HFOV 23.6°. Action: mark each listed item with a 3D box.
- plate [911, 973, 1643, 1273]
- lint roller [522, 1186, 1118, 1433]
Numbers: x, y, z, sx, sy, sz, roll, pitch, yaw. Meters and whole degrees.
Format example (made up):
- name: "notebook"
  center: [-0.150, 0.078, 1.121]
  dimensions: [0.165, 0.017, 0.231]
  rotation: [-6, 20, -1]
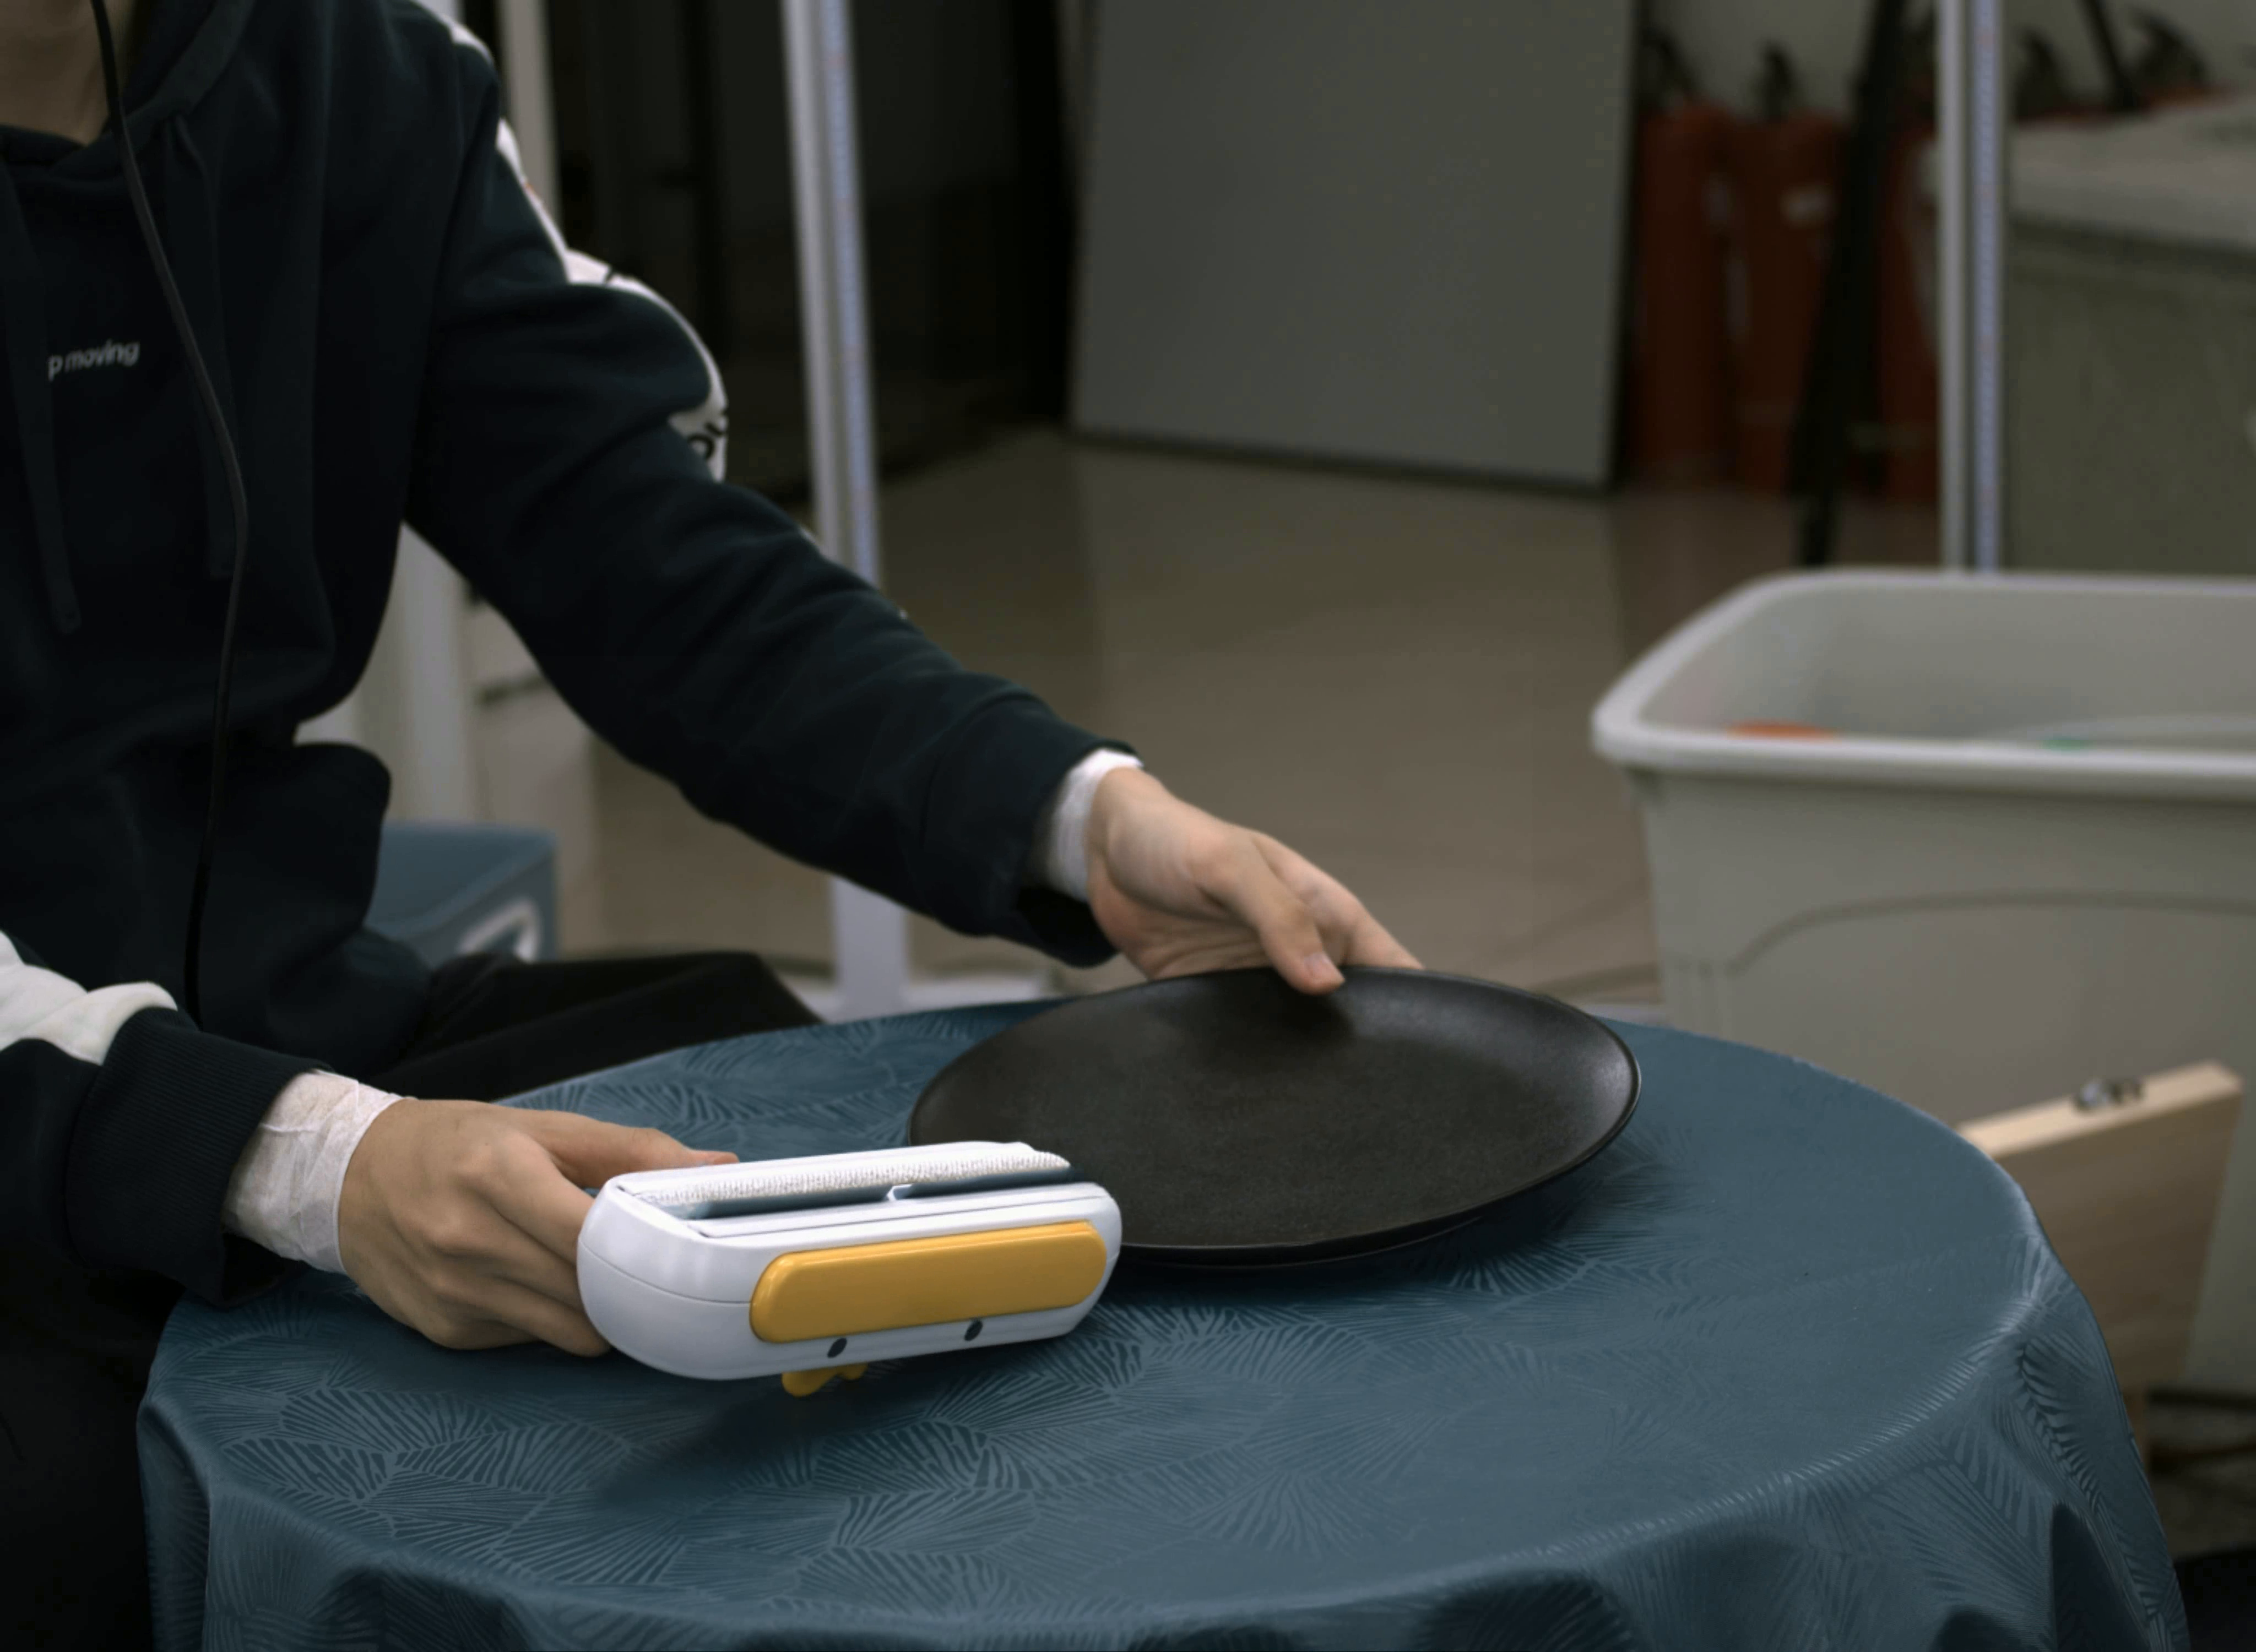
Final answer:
- name: "plate"
  center: [0.049, 0.100, 1.767]
  dimensions: [0.241, 0.023, 0.245]
  rotation: [-6, 18, 1]
- name: "lint roller"
  center: [-0.122, 0.144, 1.638]
  dimensions: [0.188, 0.075, 0.194]
  rotation: [-4, -2, -40]
